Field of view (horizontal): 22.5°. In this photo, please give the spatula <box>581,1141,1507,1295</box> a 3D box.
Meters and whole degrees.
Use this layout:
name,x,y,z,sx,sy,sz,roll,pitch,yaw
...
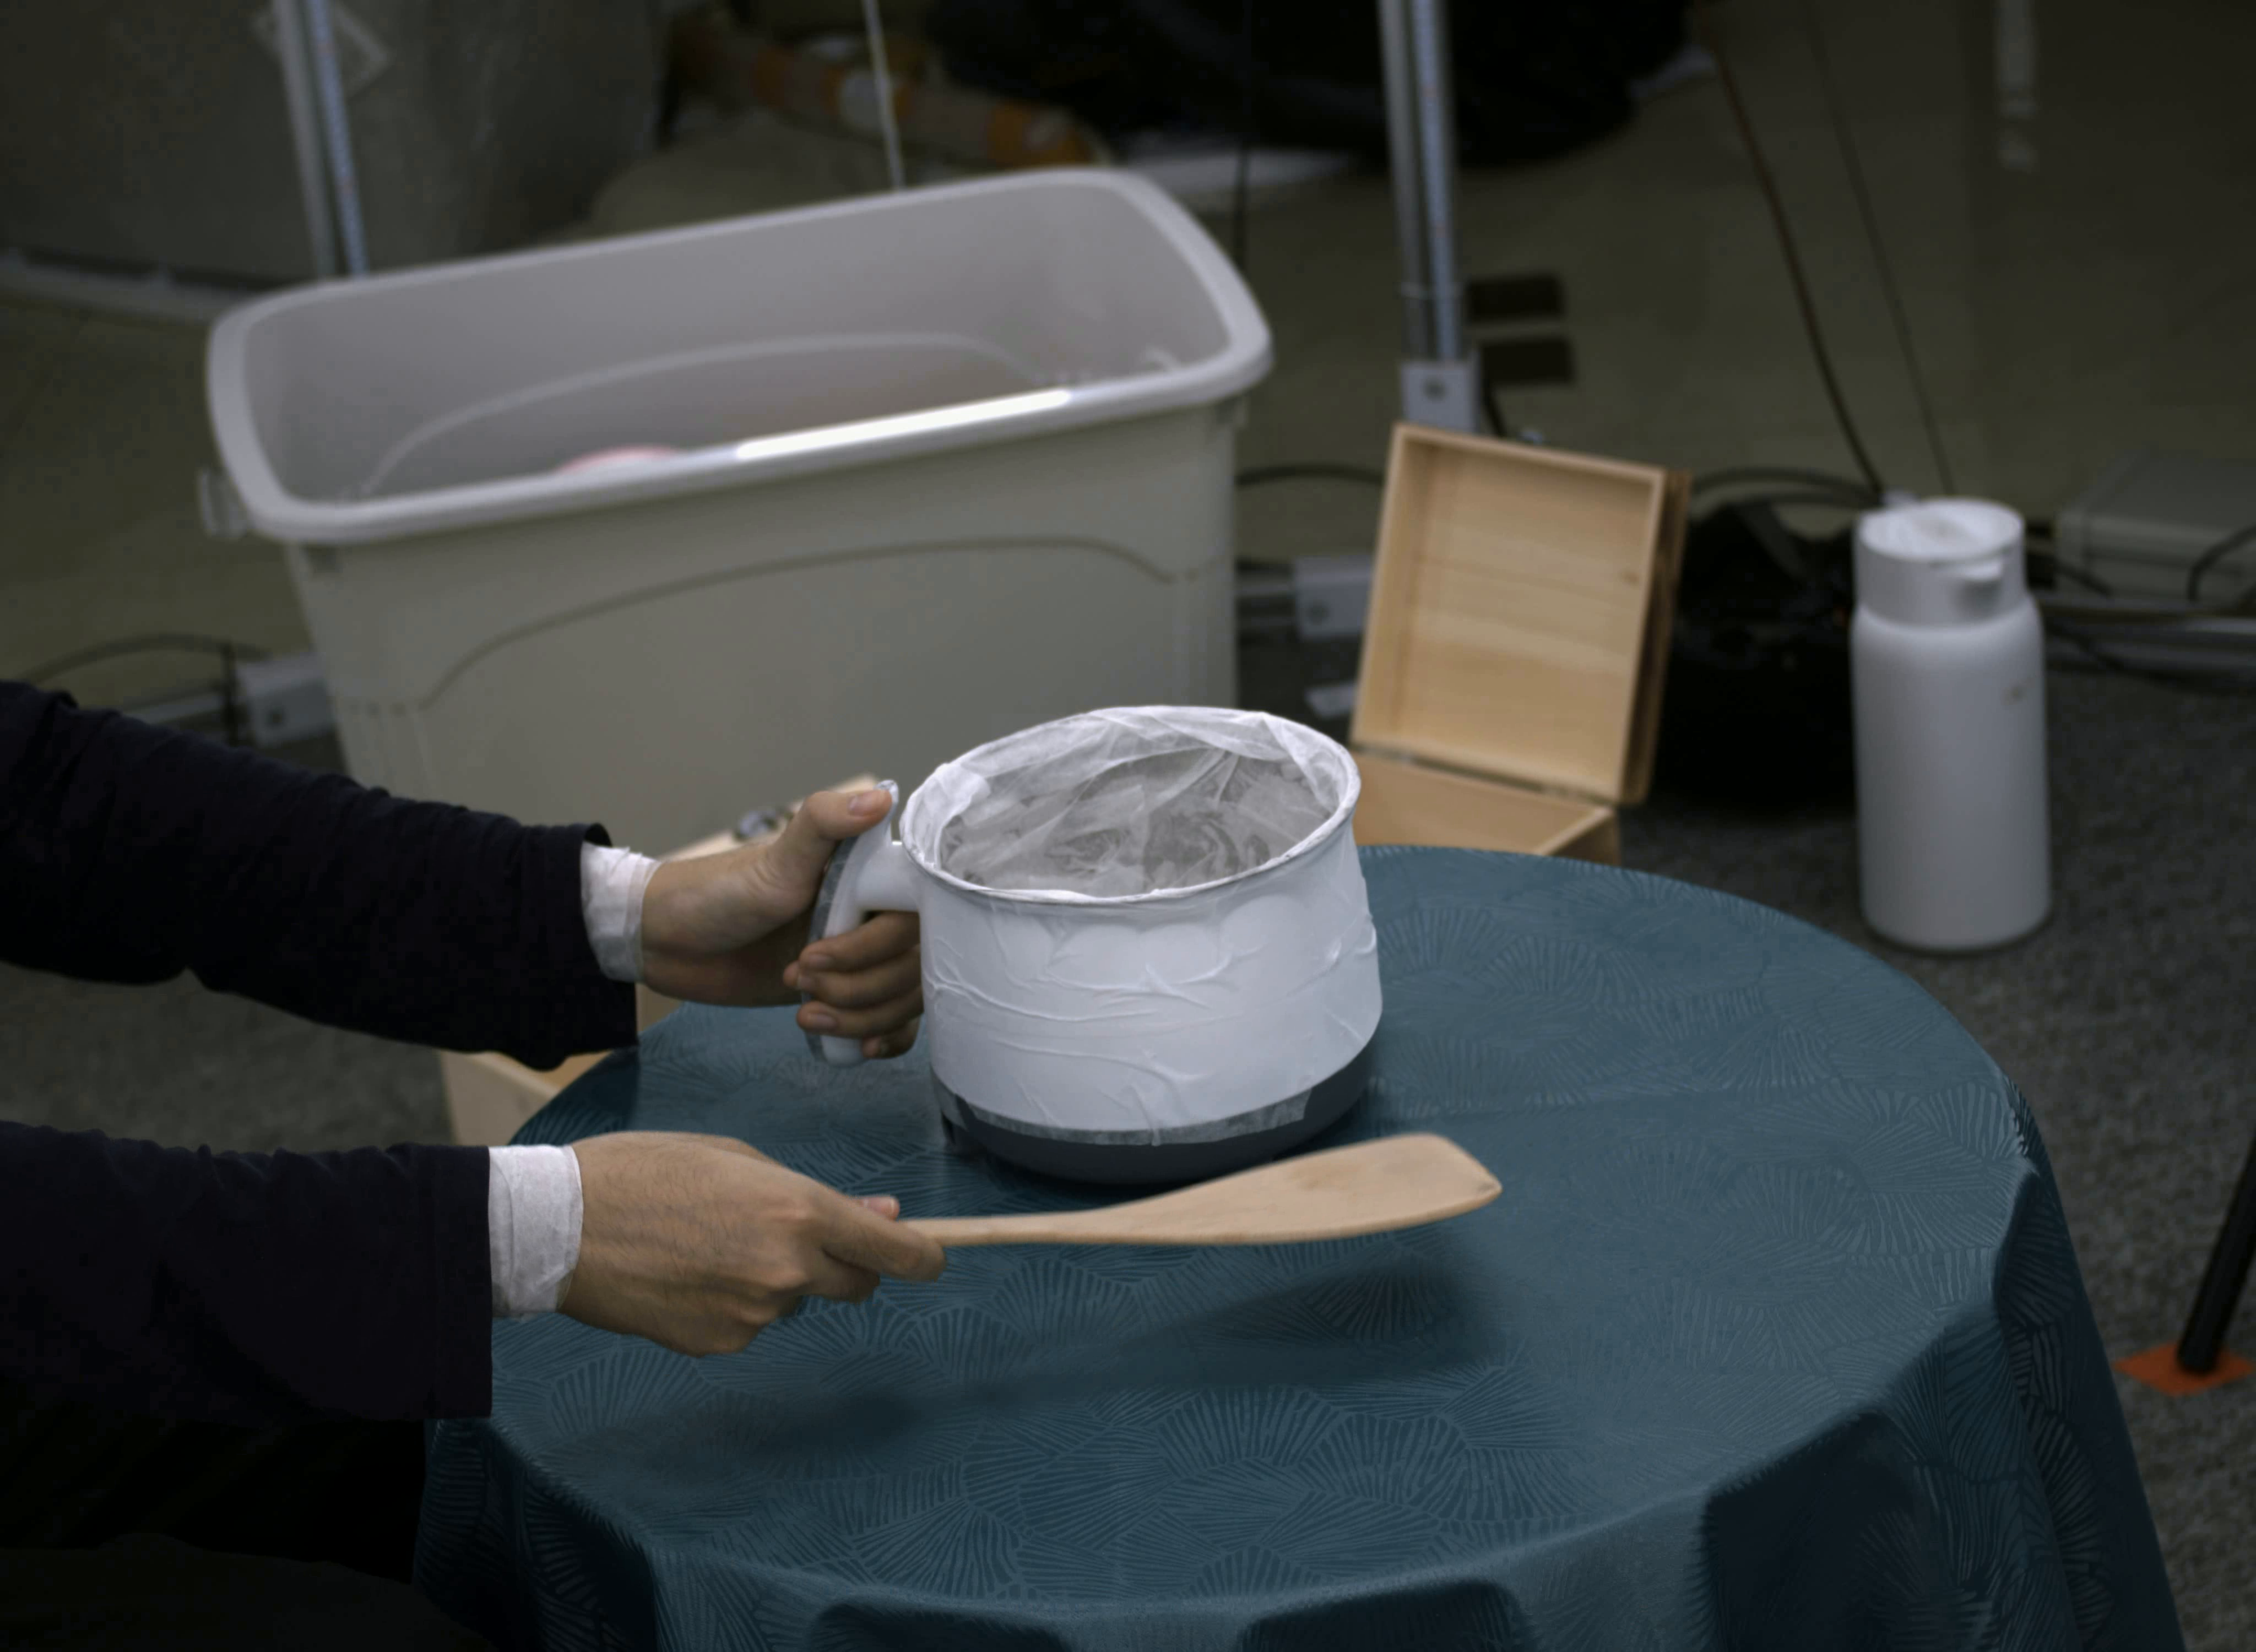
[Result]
name,x,y,z,sx,sy,sz,roll,pitch,yaw
spatula,-0.032,0.142,2.020,0.327,0.017,0.079,-5,16,-7

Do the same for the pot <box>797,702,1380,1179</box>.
name,x,y,z,sx,sy,sz,roll,pitch,yaw
pot,-0.019,0.044,2.188,0.233,0.139,0.176,3,26,16
